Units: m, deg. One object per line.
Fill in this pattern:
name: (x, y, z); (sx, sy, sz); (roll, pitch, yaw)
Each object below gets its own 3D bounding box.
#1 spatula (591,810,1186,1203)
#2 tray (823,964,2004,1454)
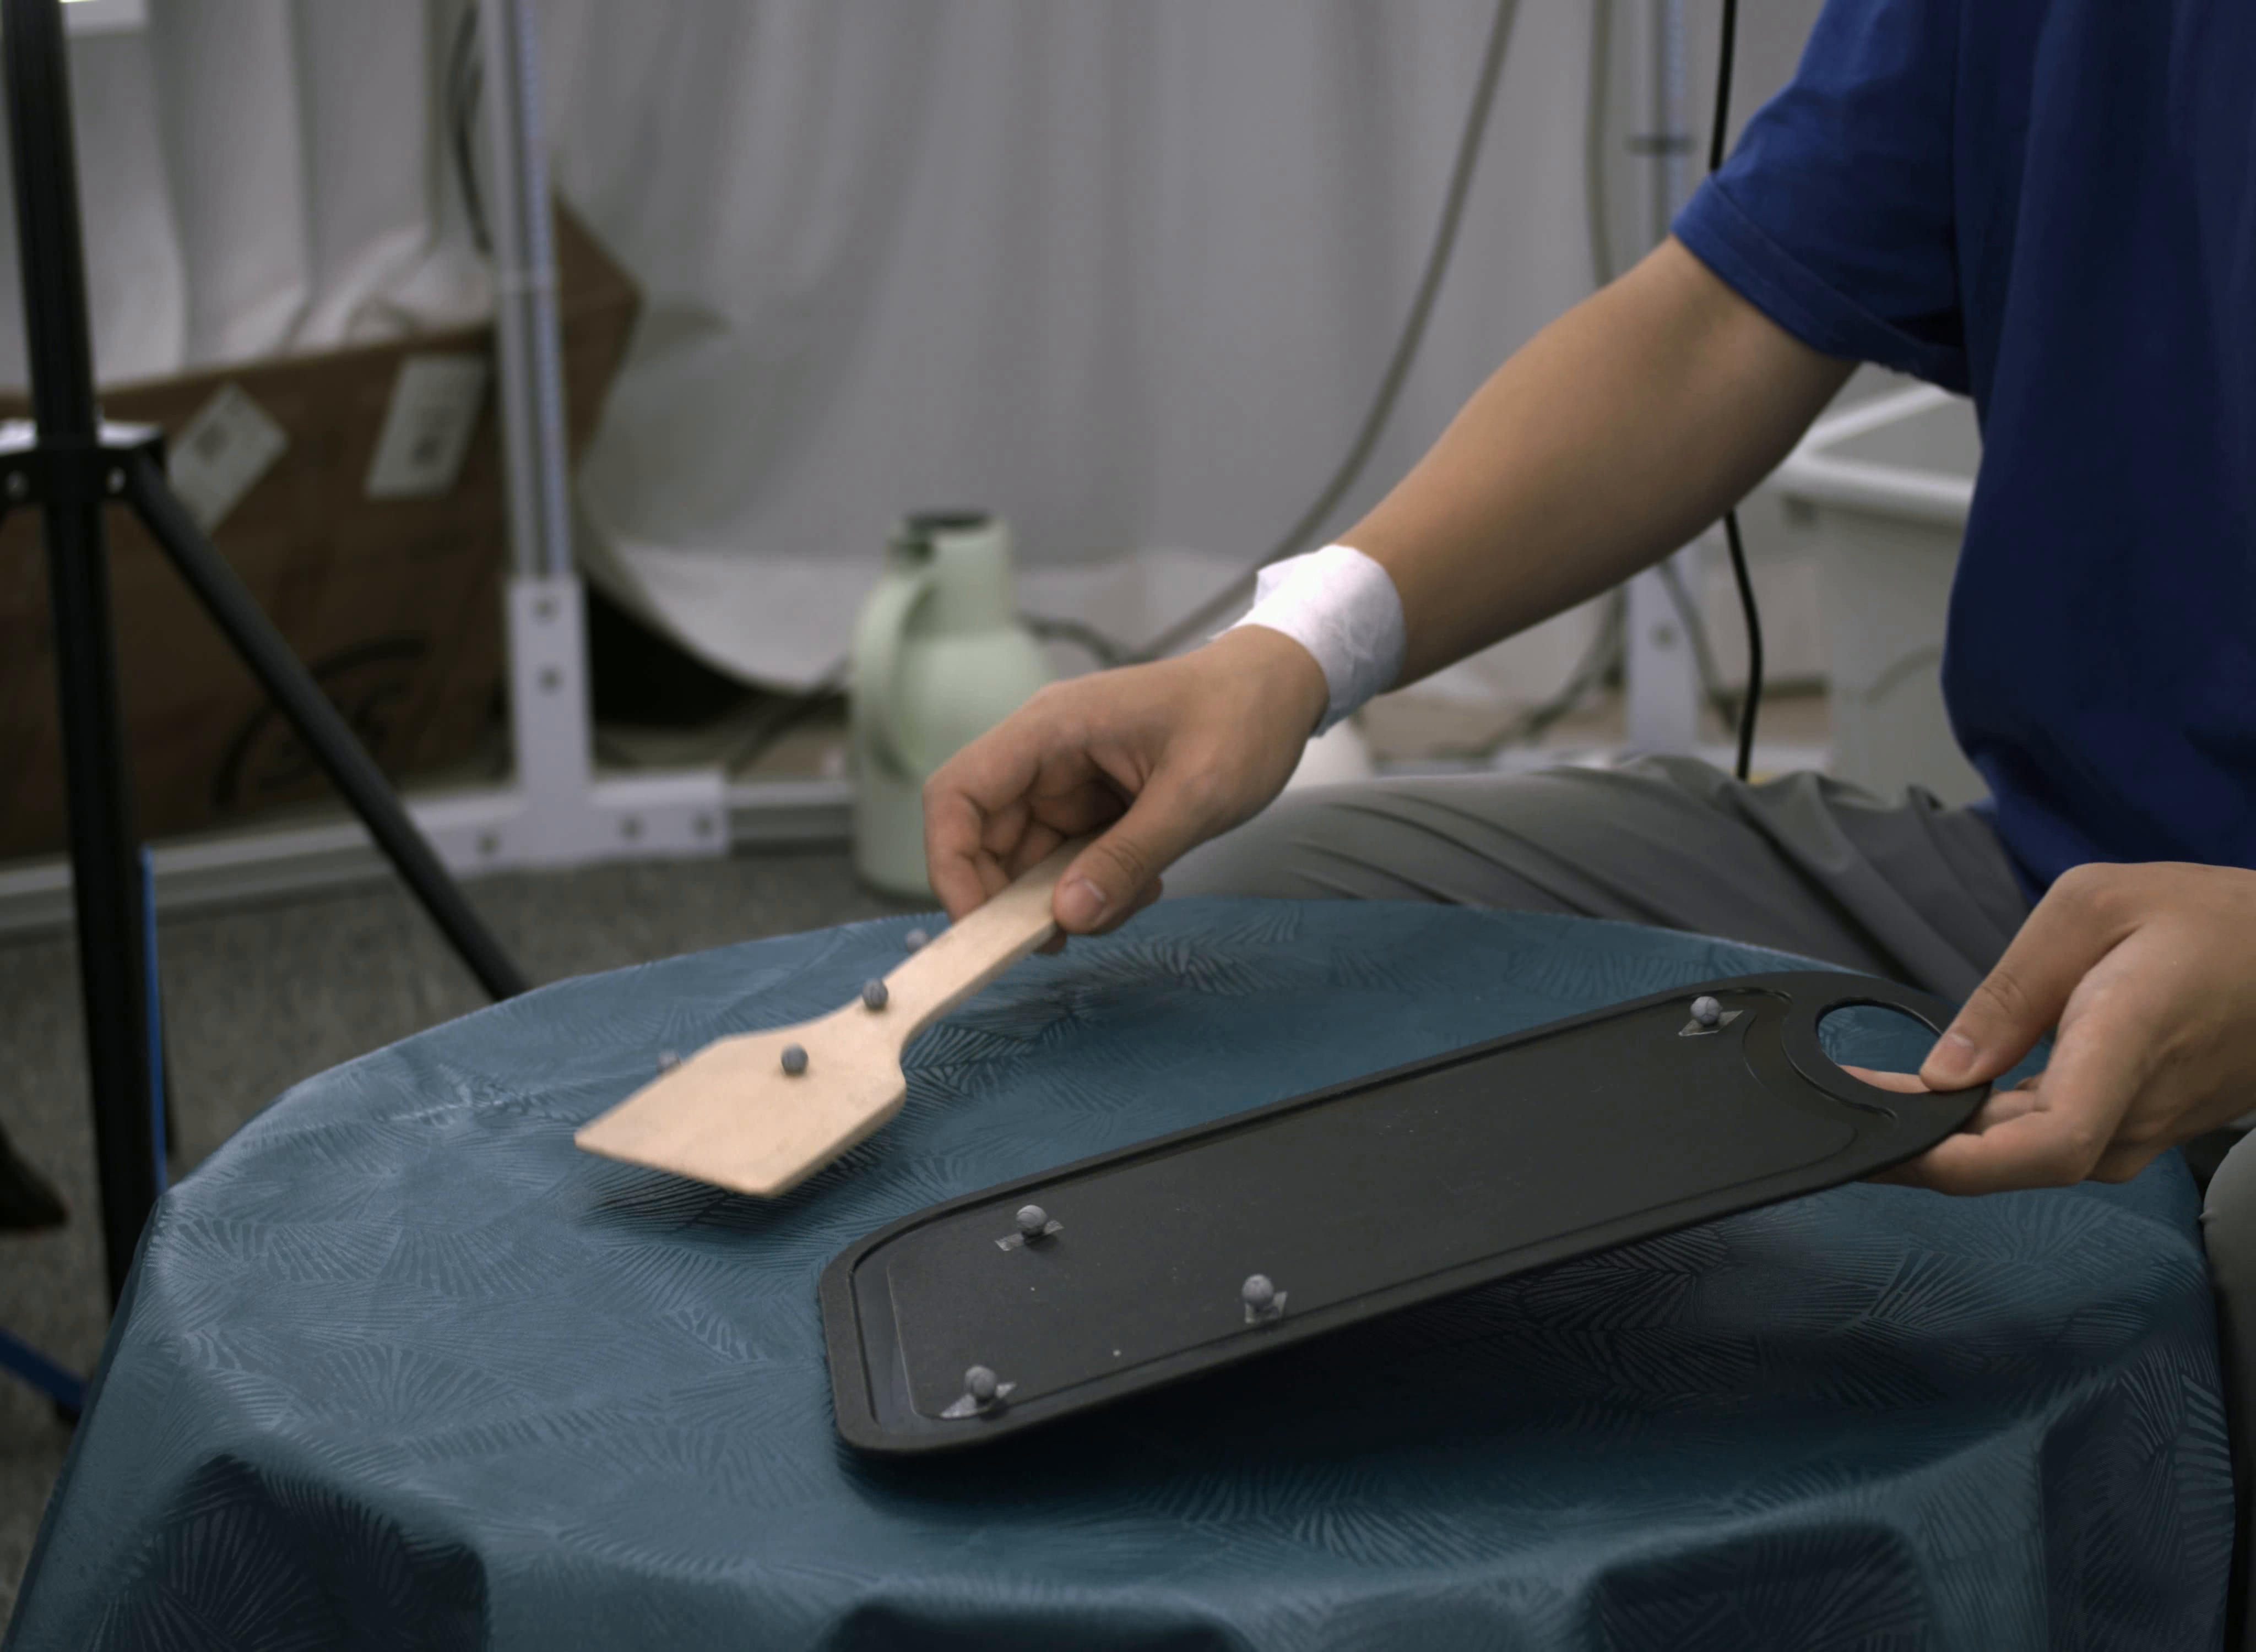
spatula: (-0.061, 0.051, 1.663); (0.073, 0.010, 0.288); (10, 27, 28)
tray: (0.075, 0.096, 1.427); (0.324, 0.010, 0.212); (-16, 13, 1)
